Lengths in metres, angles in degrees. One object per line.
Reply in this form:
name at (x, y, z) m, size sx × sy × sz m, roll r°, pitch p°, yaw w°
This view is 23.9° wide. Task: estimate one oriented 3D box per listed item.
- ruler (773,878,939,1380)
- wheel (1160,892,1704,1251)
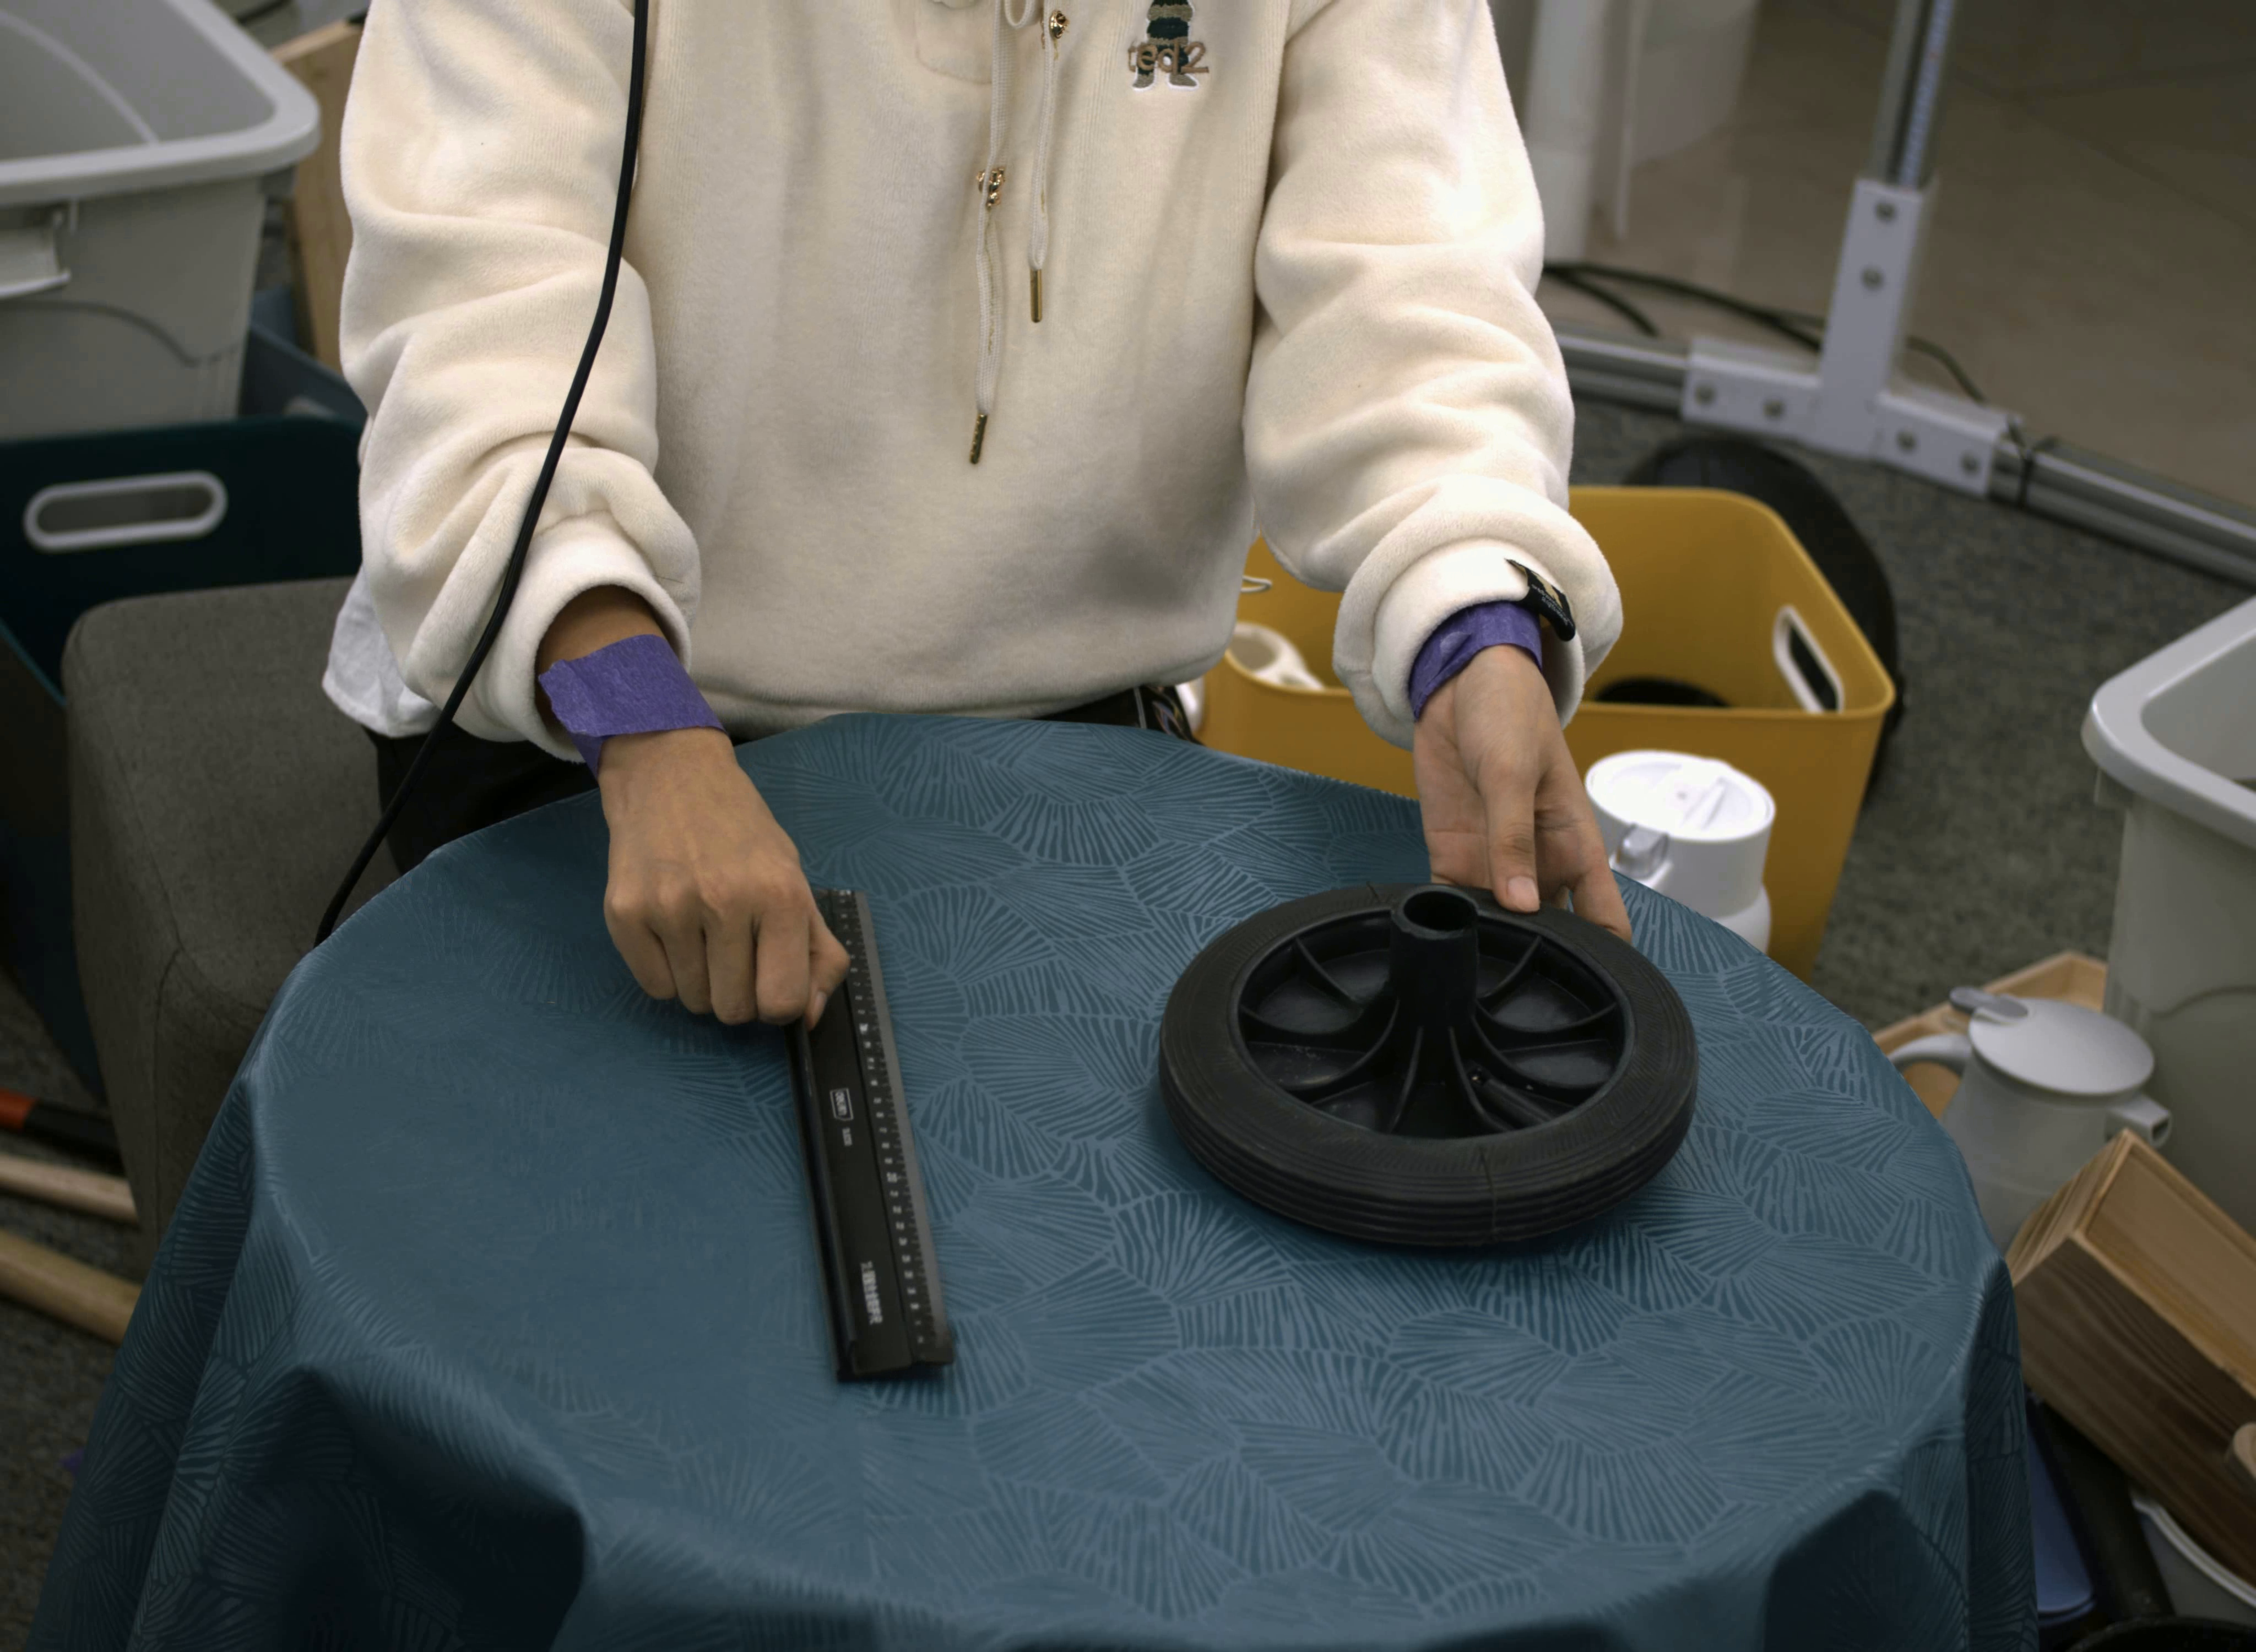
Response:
ruler at (-0.094, 0.095, 1.811) m, size 0.039 × 0.017 × 0.315 m, roll -3°, pitch 28°, yaw -6°
wheel at (0.106, 0.065, 1.841) m, size 0.190 × 0.079 × 0.187 m, roll 16°, pitch 37°, yaw 21°
